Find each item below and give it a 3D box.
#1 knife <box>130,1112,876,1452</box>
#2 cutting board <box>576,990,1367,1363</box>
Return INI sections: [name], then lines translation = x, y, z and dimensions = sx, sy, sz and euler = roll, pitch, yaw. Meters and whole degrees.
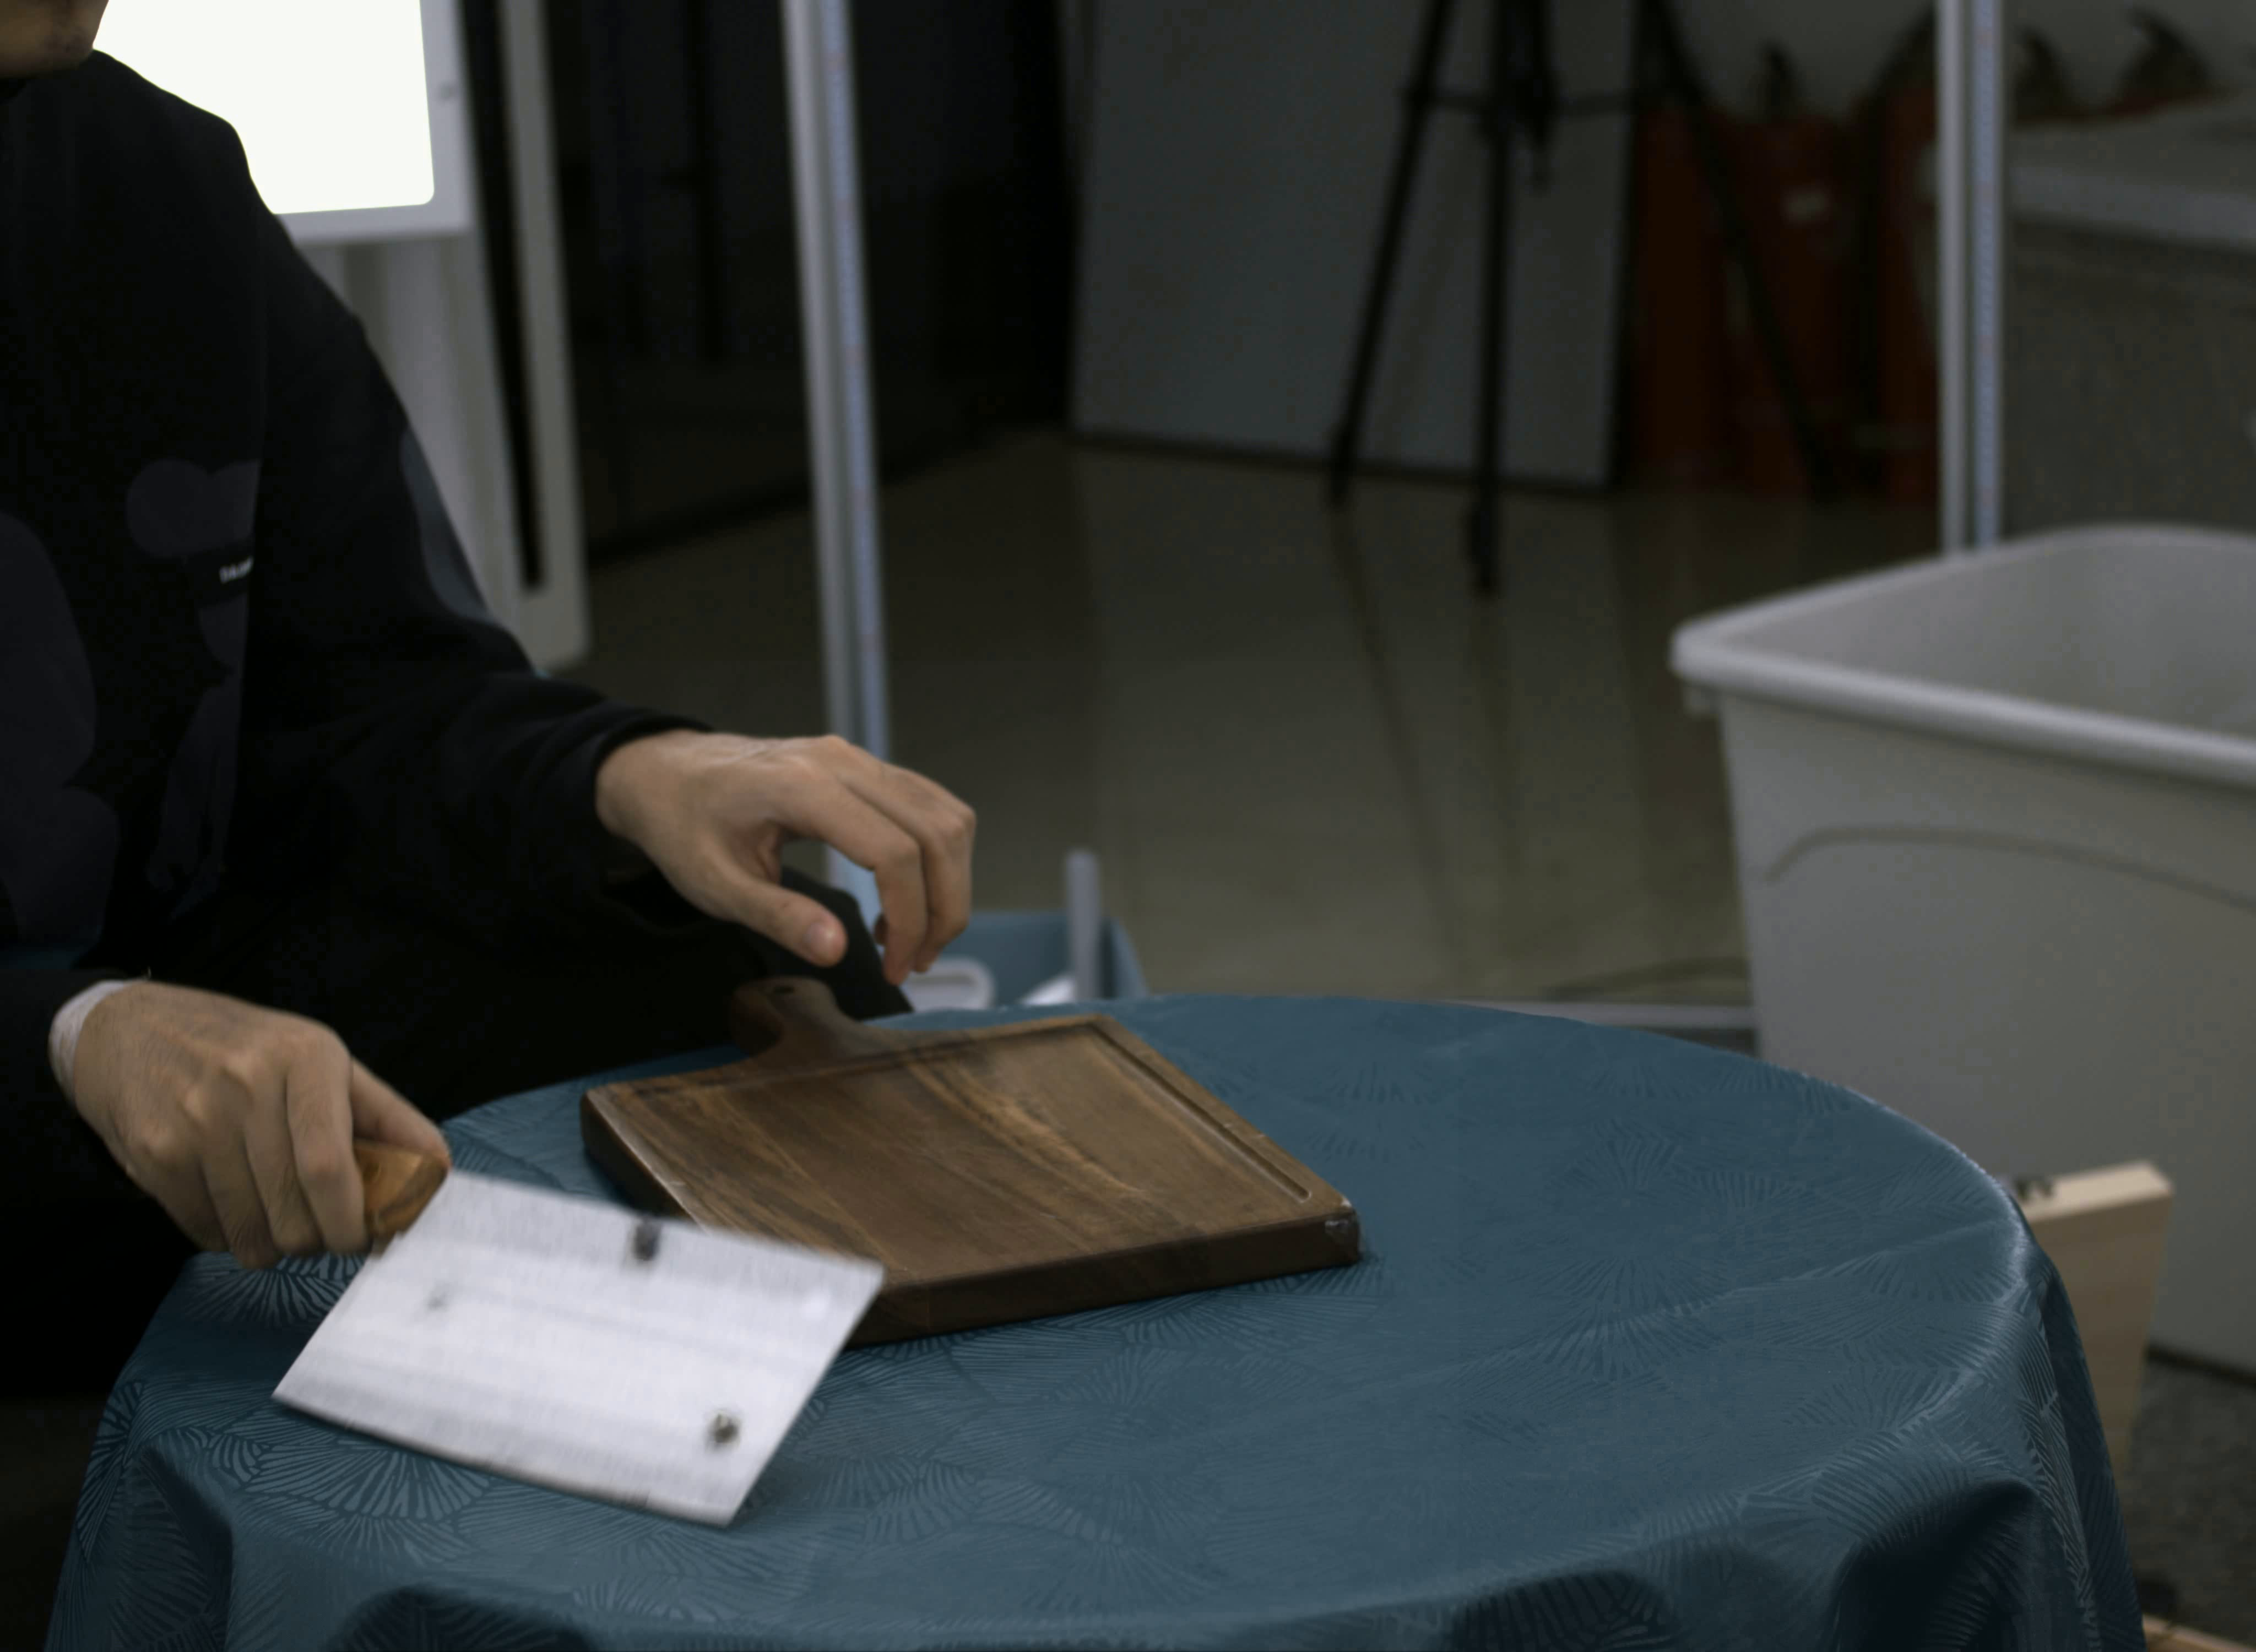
[knife]
translation = -0.203, 0.137, 1.616
dimensions = 0.308, 0.021, 0.093
euler = 7, 55, 40
[cutting board]
translation = -0.073, 0.105, 1.814
dimensions = 0.197, 0.023, 0.355
euler = -8, 14, -18
